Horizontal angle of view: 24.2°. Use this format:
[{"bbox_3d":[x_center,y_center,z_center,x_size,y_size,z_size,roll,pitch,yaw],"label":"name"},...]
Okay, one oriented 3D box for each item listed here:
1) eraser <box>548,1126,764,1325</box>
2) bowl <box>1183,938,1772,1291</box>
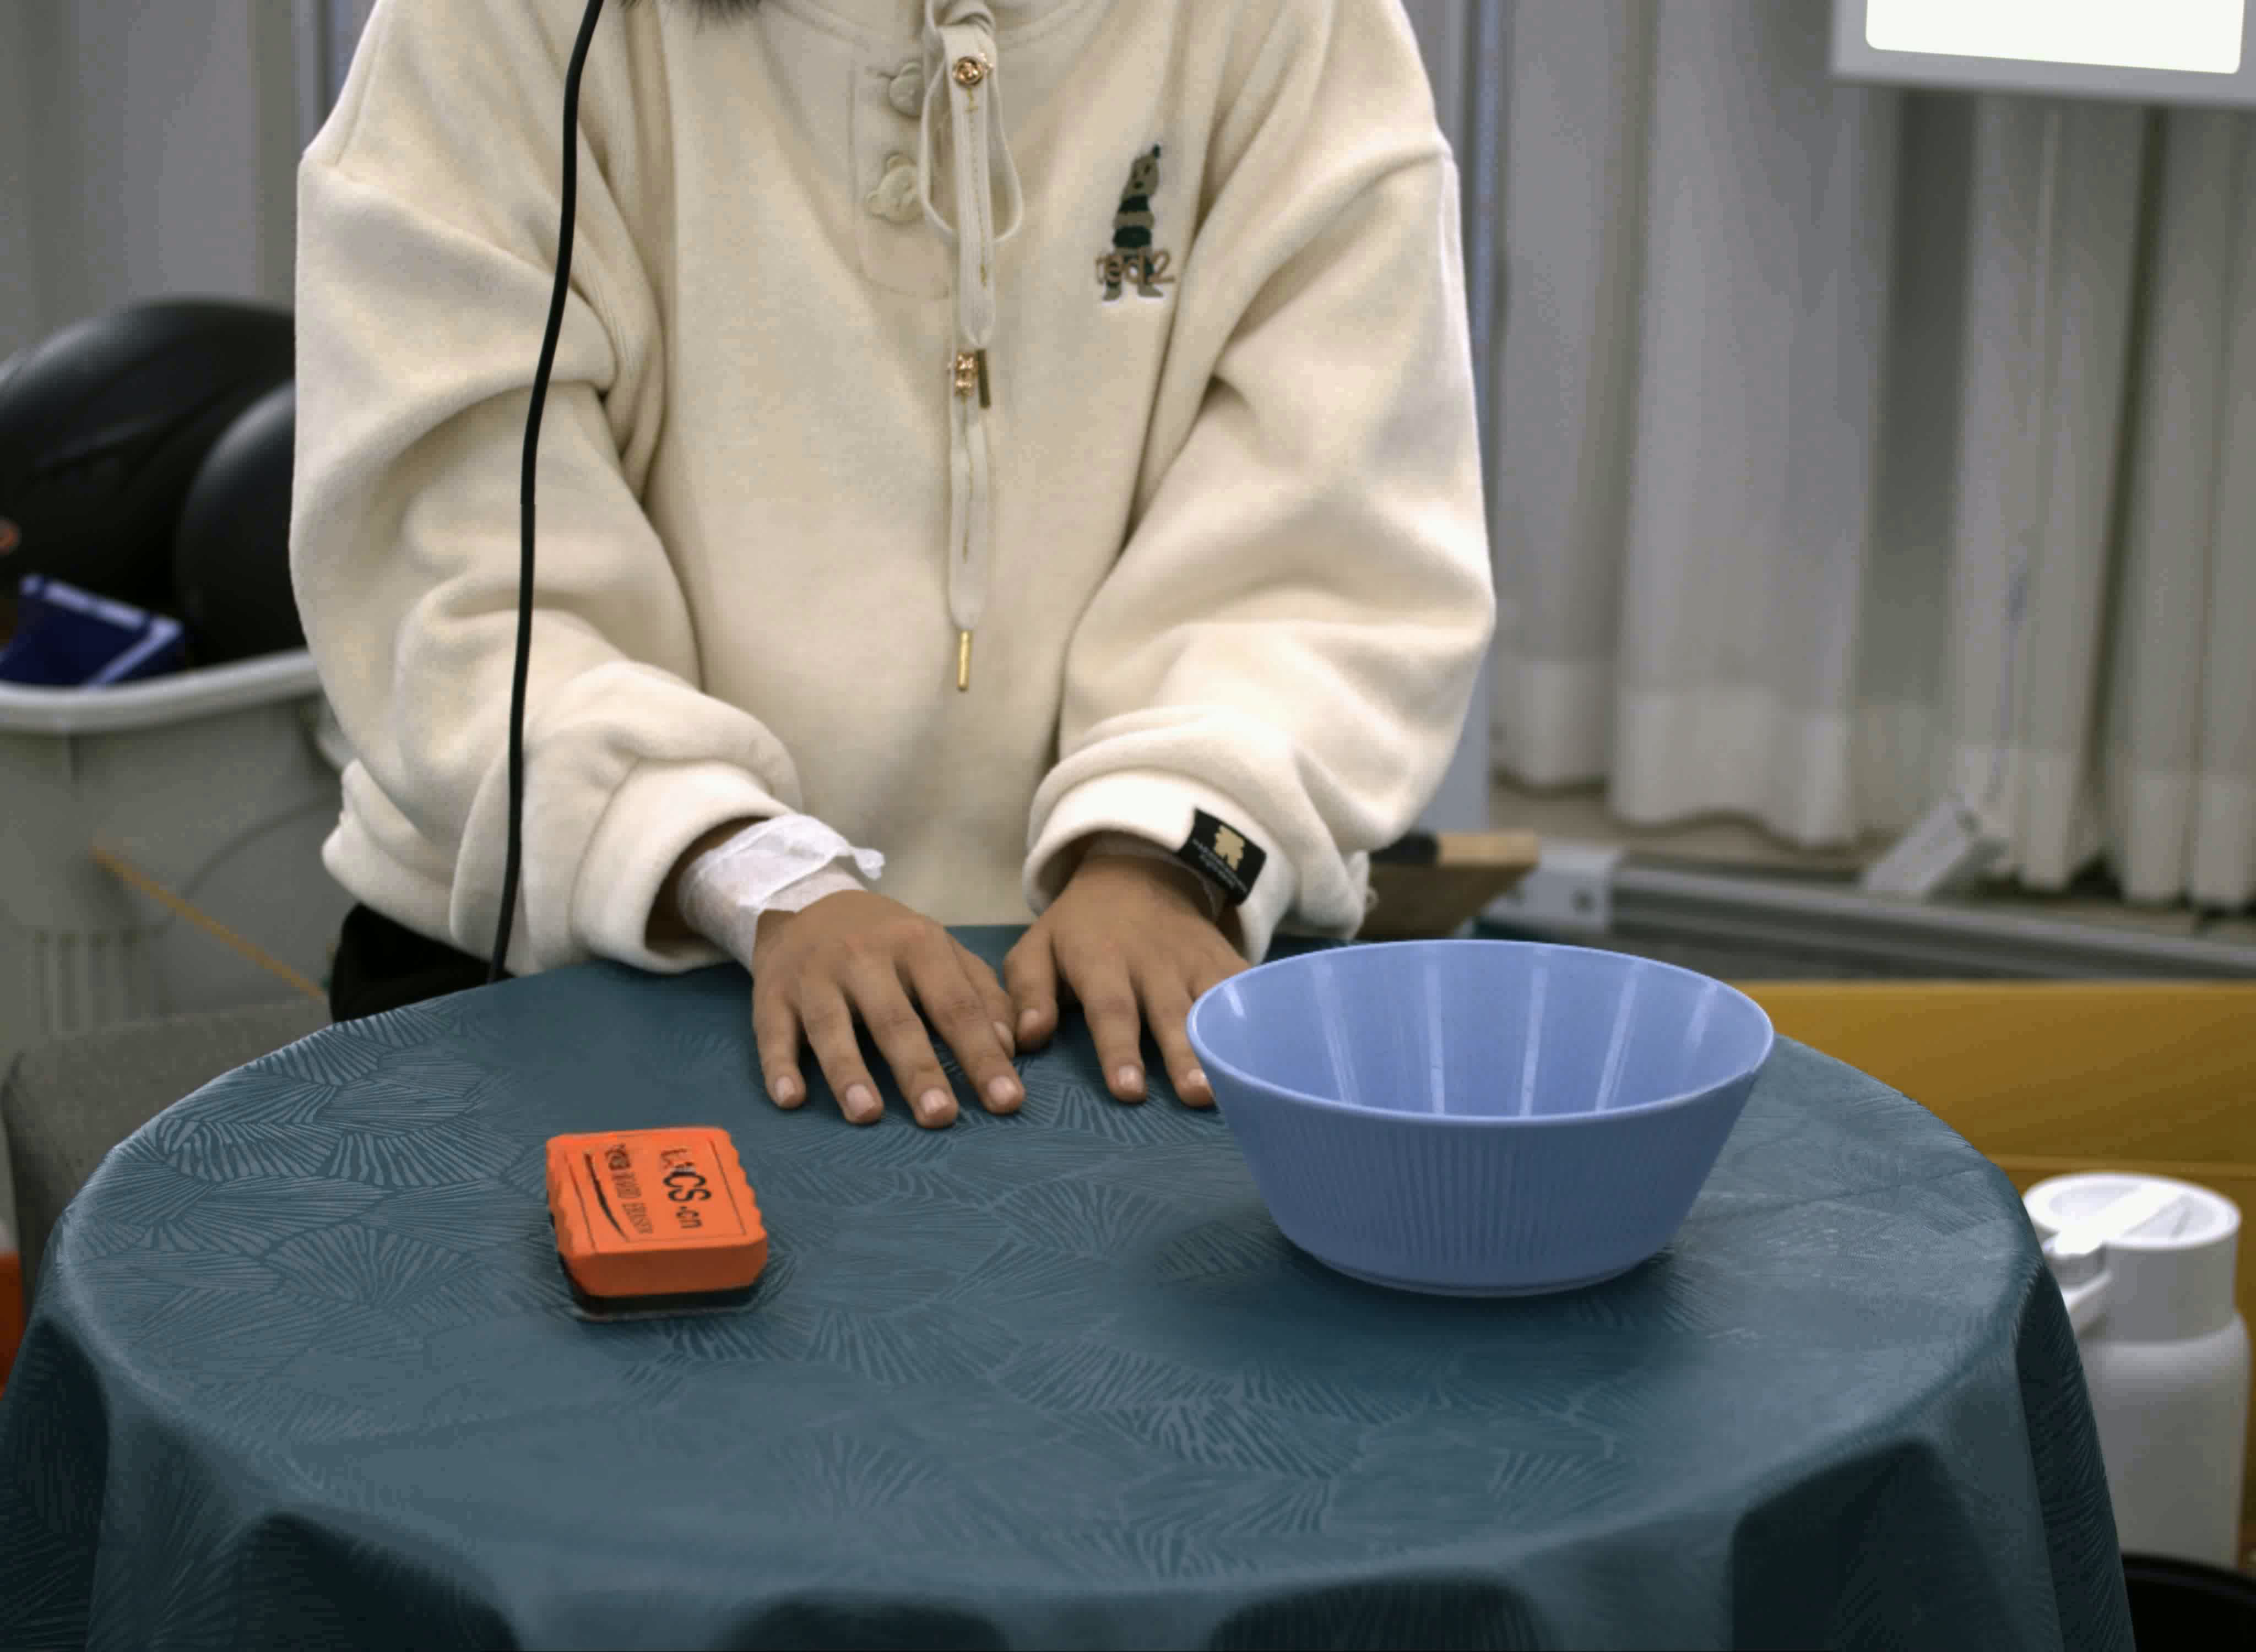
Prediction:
[{"bbox_3d":[-0.140,0.117,1.556,0.059,0.023,0.107,-4,16,-9],"label":"eraser"},{"bbox_3d":[0.104,0.089,1.575,0.175,0.071,0.175,1,16,0],"label":"bowl"}]
